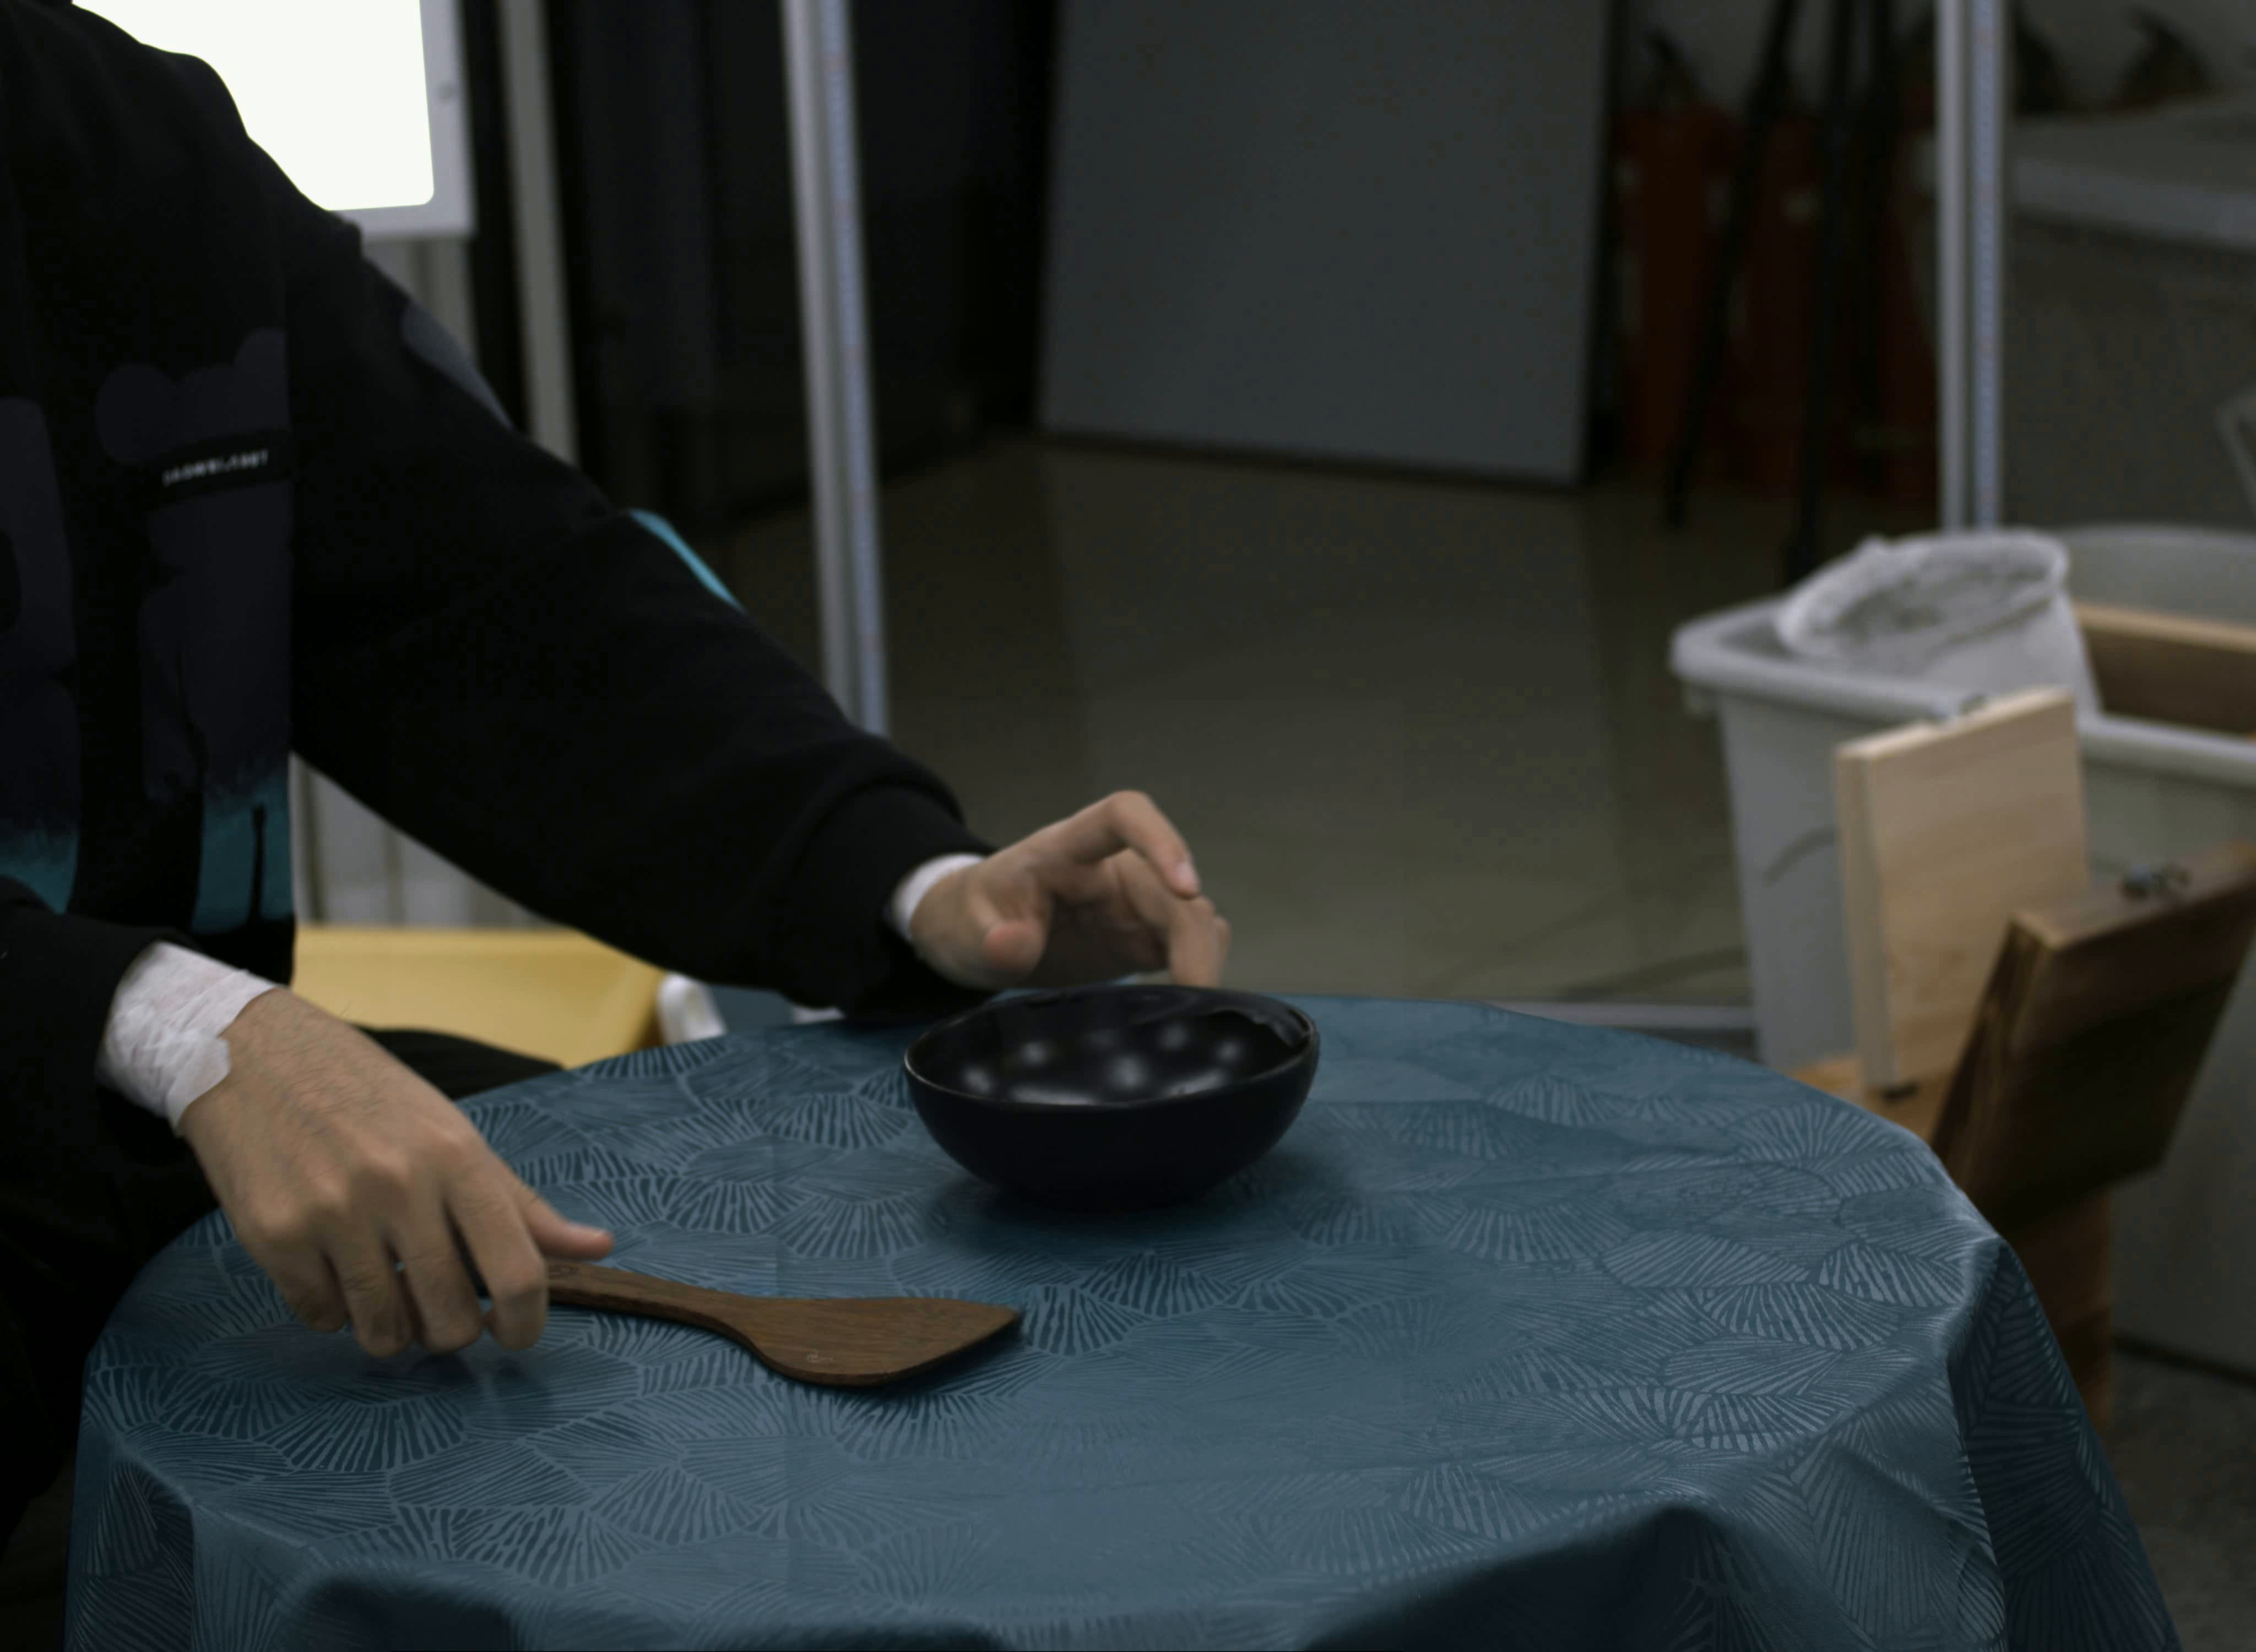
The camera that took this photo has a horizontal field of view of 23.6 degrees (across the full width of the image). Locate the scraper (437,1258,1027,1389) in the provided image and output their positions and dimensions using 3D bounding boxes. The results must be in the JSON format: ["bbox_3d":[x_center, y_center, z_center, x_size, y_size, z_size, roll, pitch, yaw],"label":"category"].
[{"bbox_3d":[-0.129,0.151,1.673,0.212,0.011,0.074,5,15,36],"label":"scraper"}]

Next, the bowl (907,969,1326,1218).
[{"bbox_3d":[-0.003,0.093,1.776,0.138,0.050,0.140,-3,18,0],"label":"bowl"}]
